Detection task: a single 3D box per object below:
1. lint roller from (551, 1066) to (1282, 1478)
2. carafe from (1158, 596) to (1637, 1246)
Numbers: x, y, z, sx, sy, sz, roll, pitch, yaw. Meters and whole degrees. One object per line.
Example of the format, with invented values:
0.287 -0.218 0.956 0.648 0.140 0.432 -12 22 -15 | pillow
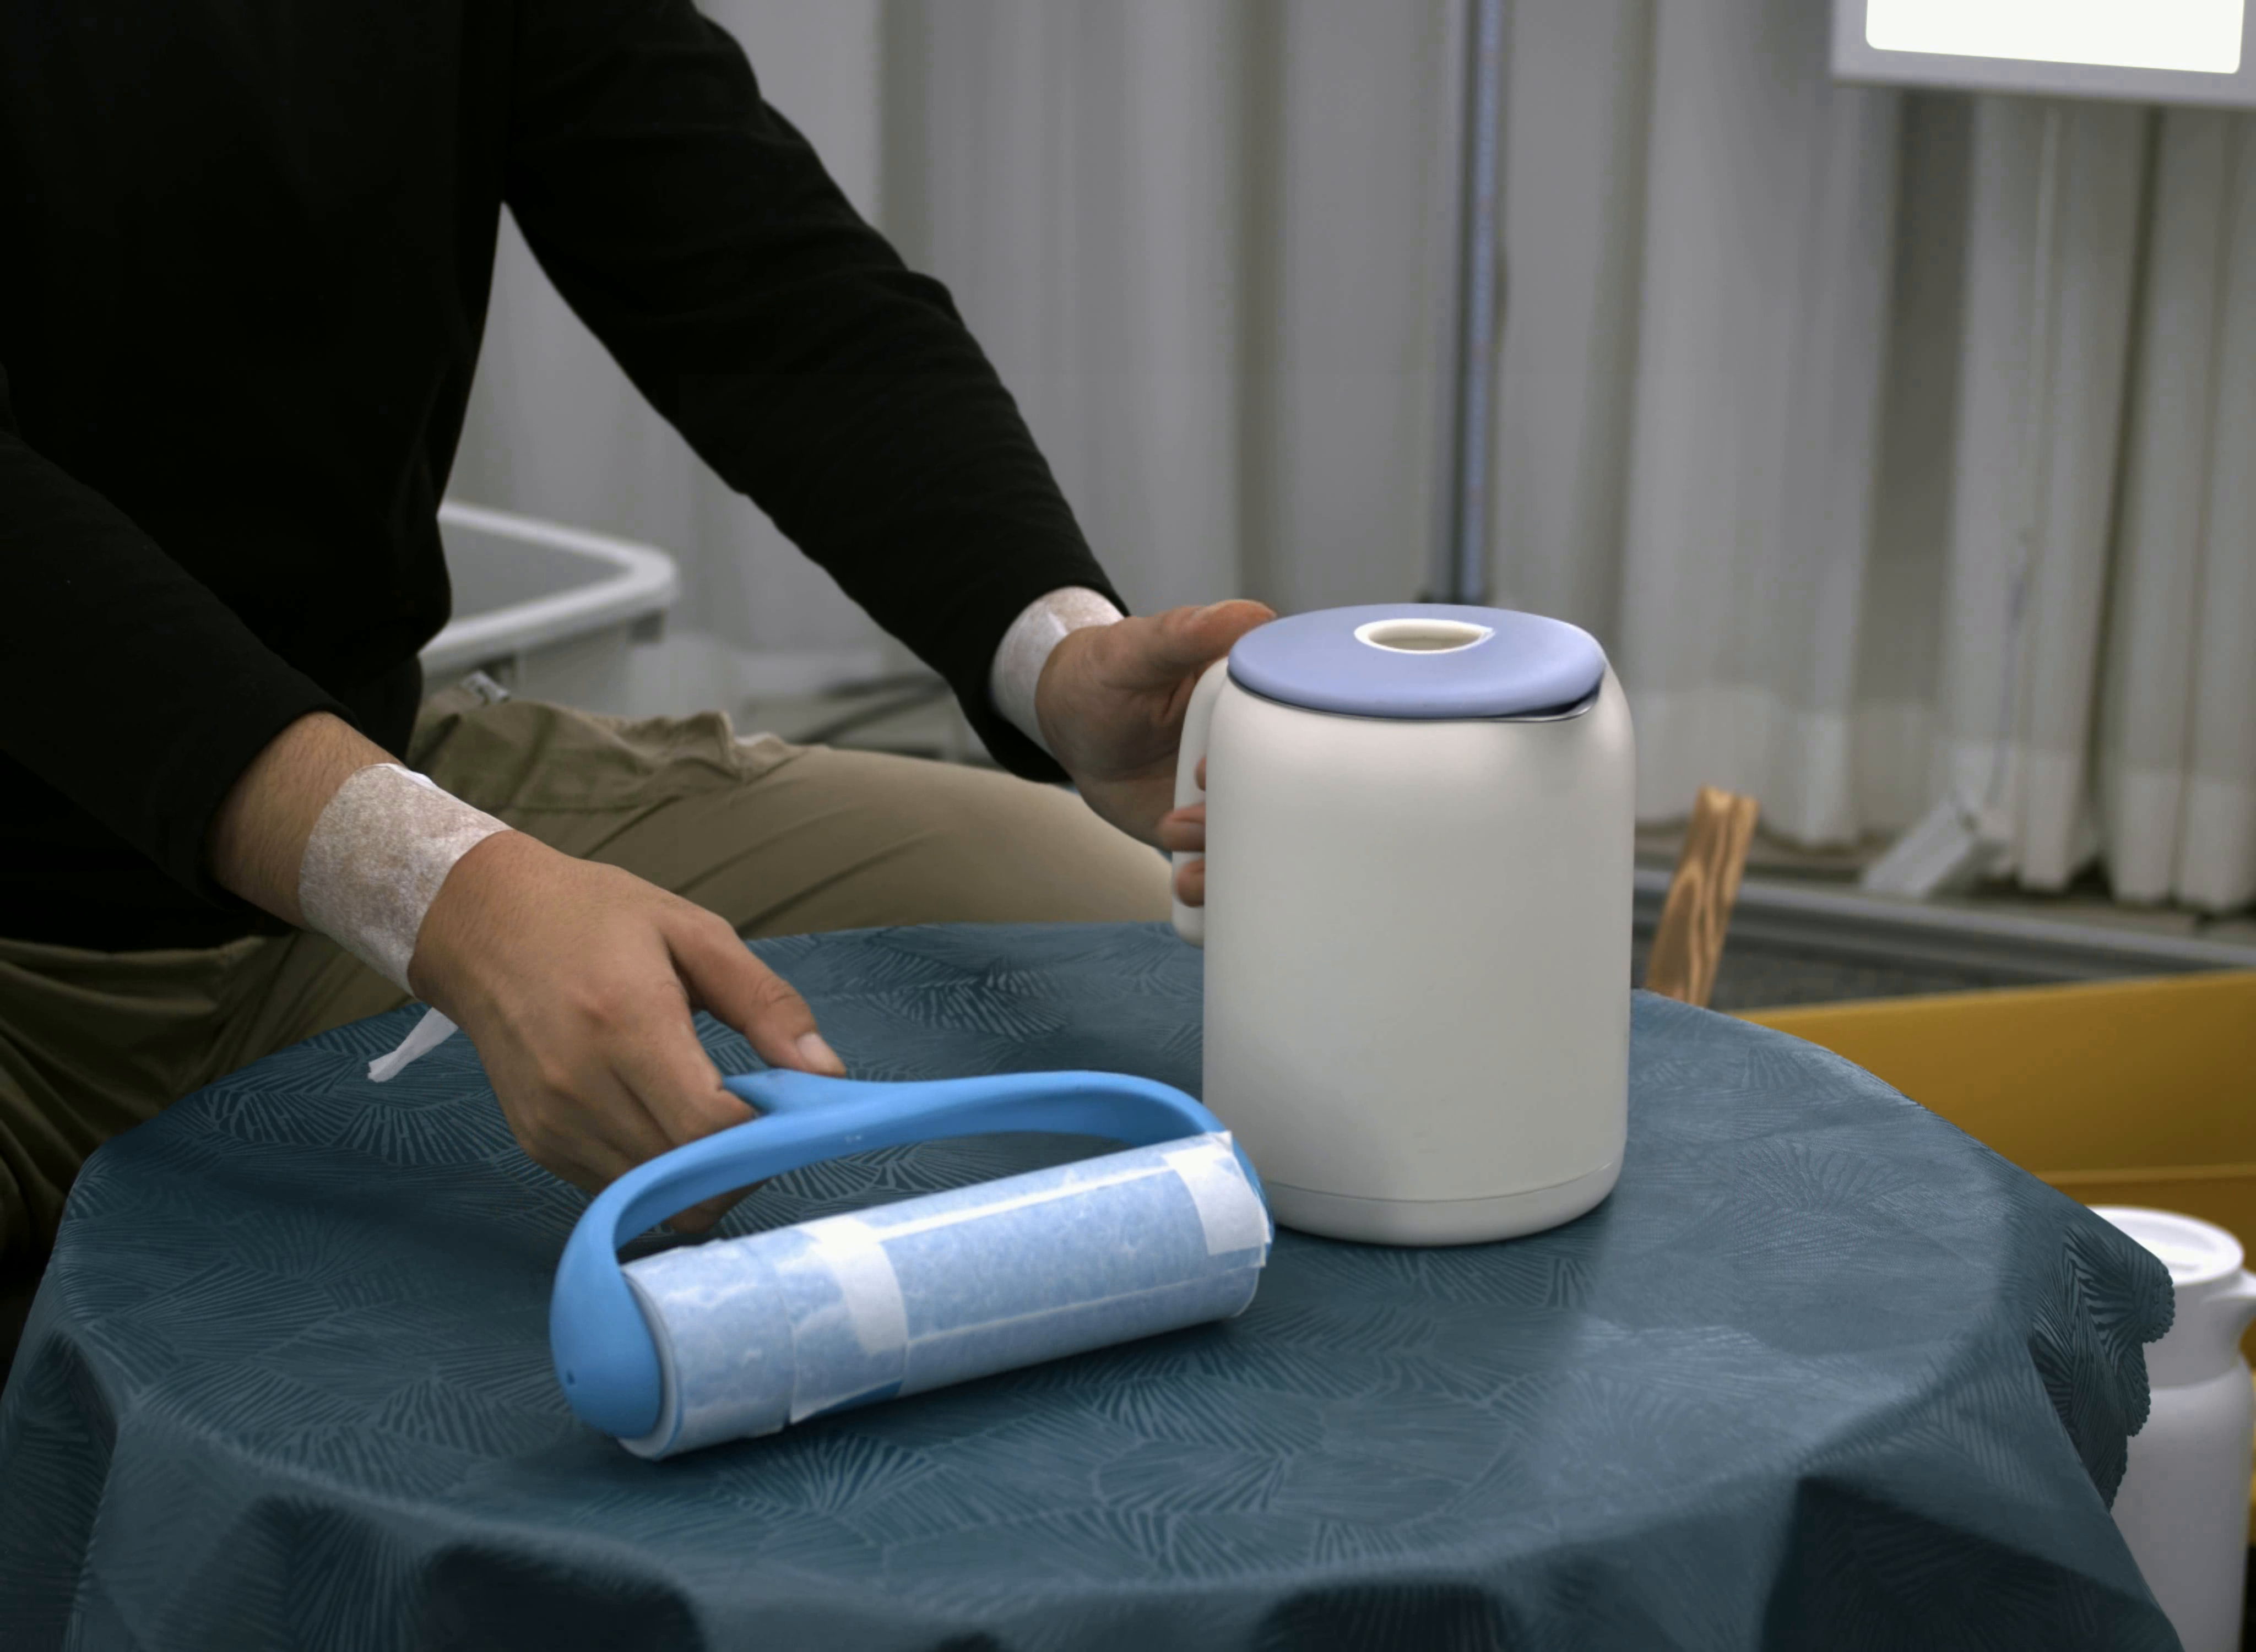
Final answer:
-0.088 0.104 1.499 0.230 0.068 0.177 -14 36 -34 | lint roller
0.074 0.023 1.623 0.133 0.184 0.188 -11 17 -37 | carafe
